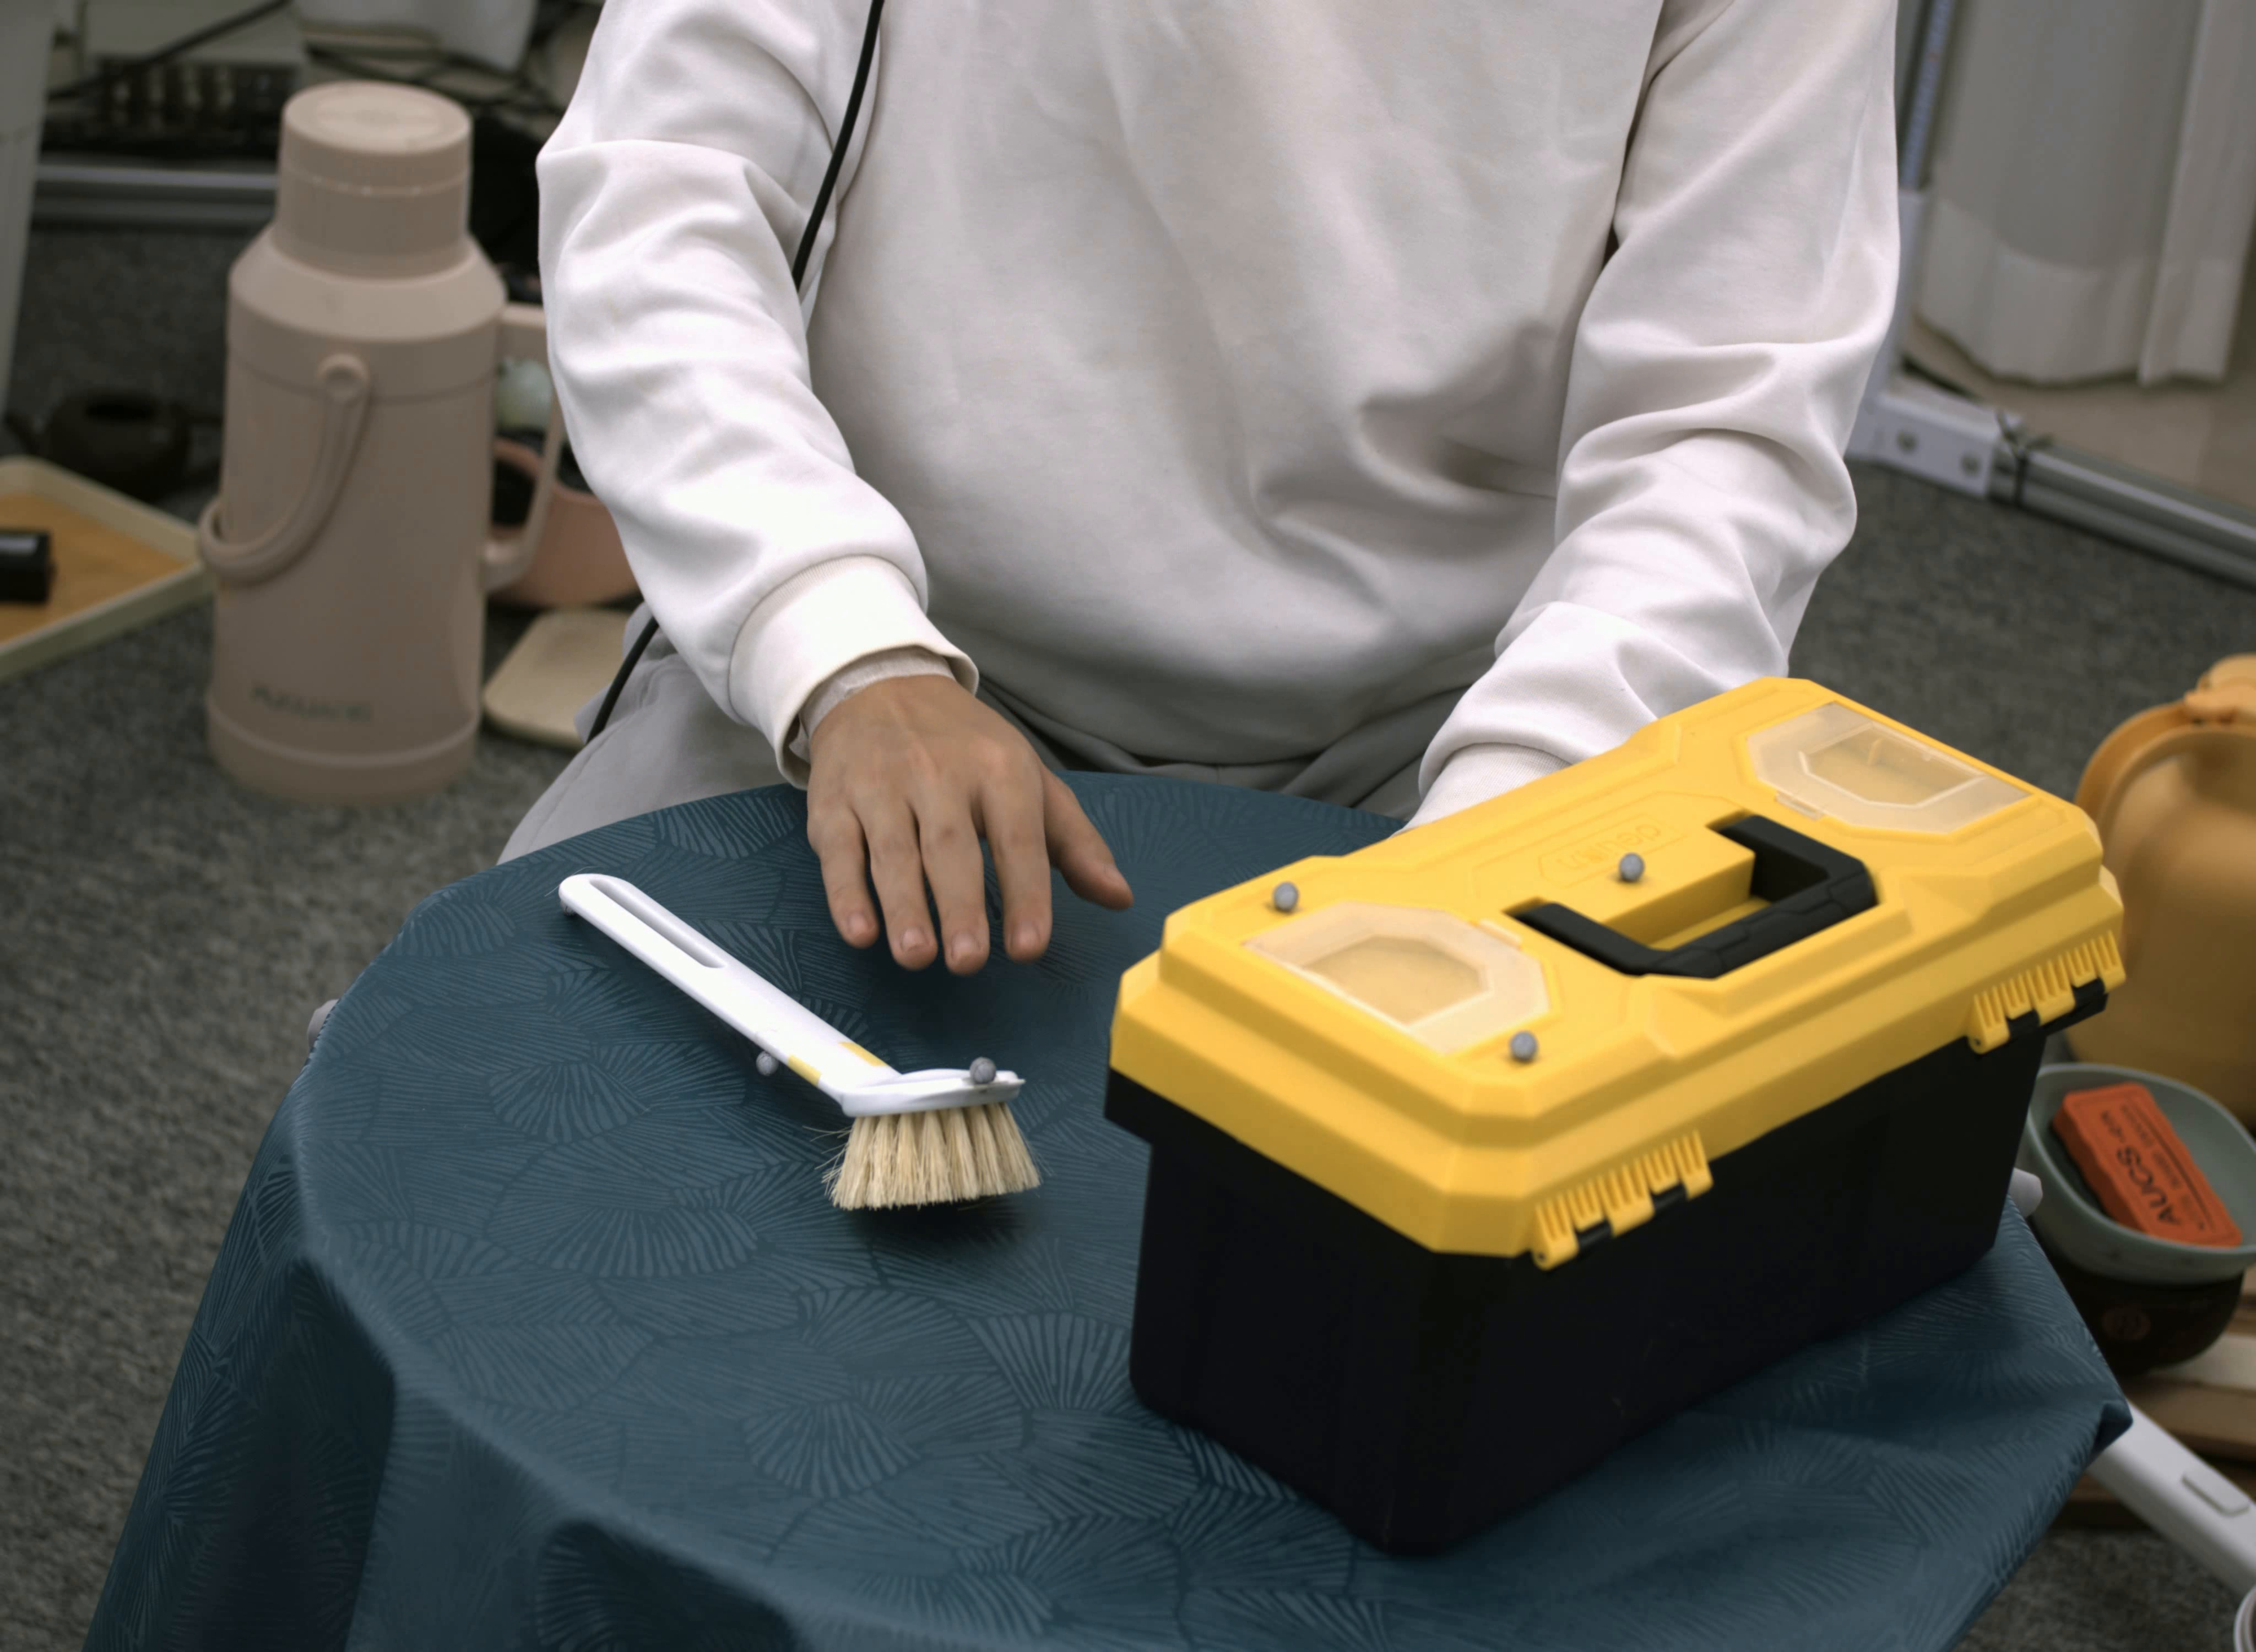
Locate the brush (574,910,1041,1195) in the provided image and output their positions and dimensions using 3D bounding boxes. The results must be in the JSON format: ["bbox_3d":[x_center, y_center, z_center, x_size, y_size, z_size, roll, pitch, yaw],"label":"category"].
[{"bbox_3d":[-0.120,0.081,1.849,0.068,0.056,0.268,13,2,-39],"label":"brush"}]

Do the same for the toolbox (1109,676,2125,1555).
[{"bbox_3d":[0.156,0.087,1.724,0.182,0.172,0.350,29,33,35],"label":"toolbox"}]
